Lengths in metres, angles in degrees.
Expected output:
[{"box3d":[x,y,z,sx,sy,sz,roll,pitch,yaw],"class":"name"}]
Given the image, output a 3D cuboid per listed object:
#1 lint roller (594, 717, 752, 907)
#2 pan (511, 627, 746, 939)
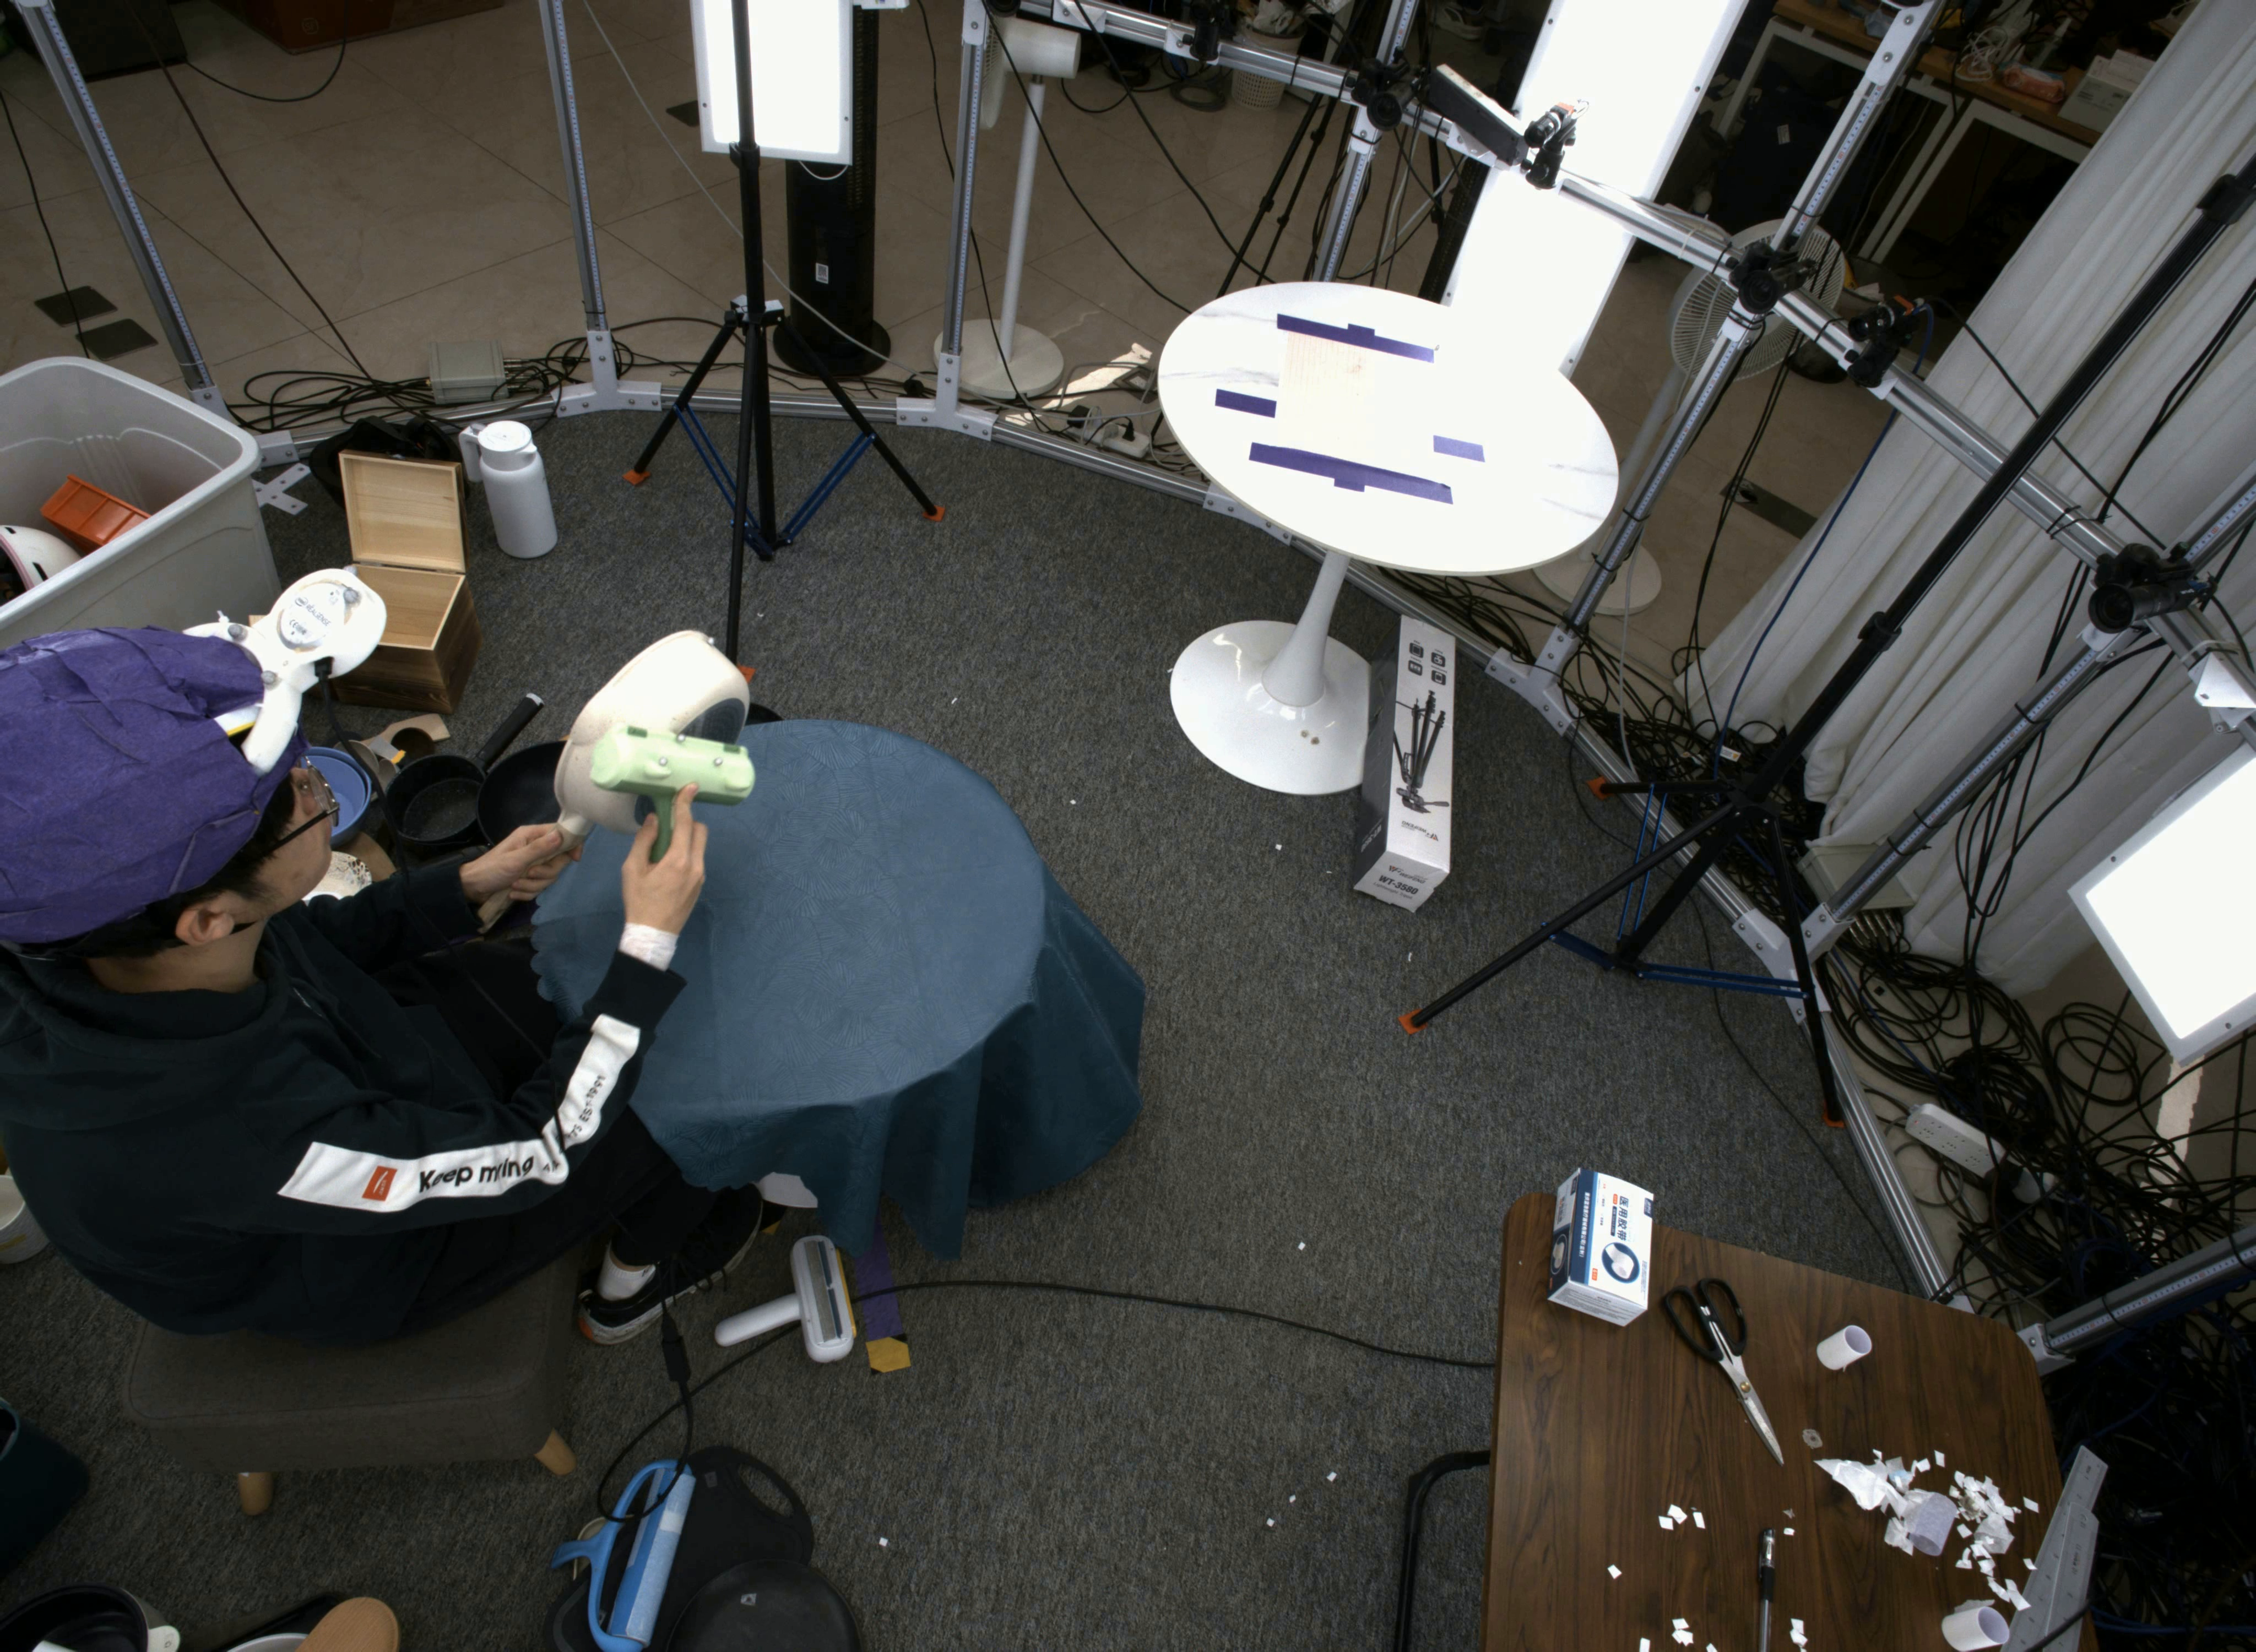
[{"box3d":[-0.472,-0.011,1.352,0.080,0.203,0.185,-4,85,25],"class":"lint roller"},{"box3d":[-0.590,-0.028,1.462,0.102,0.263,0.436,36,92,1],"class":"pan"}]
